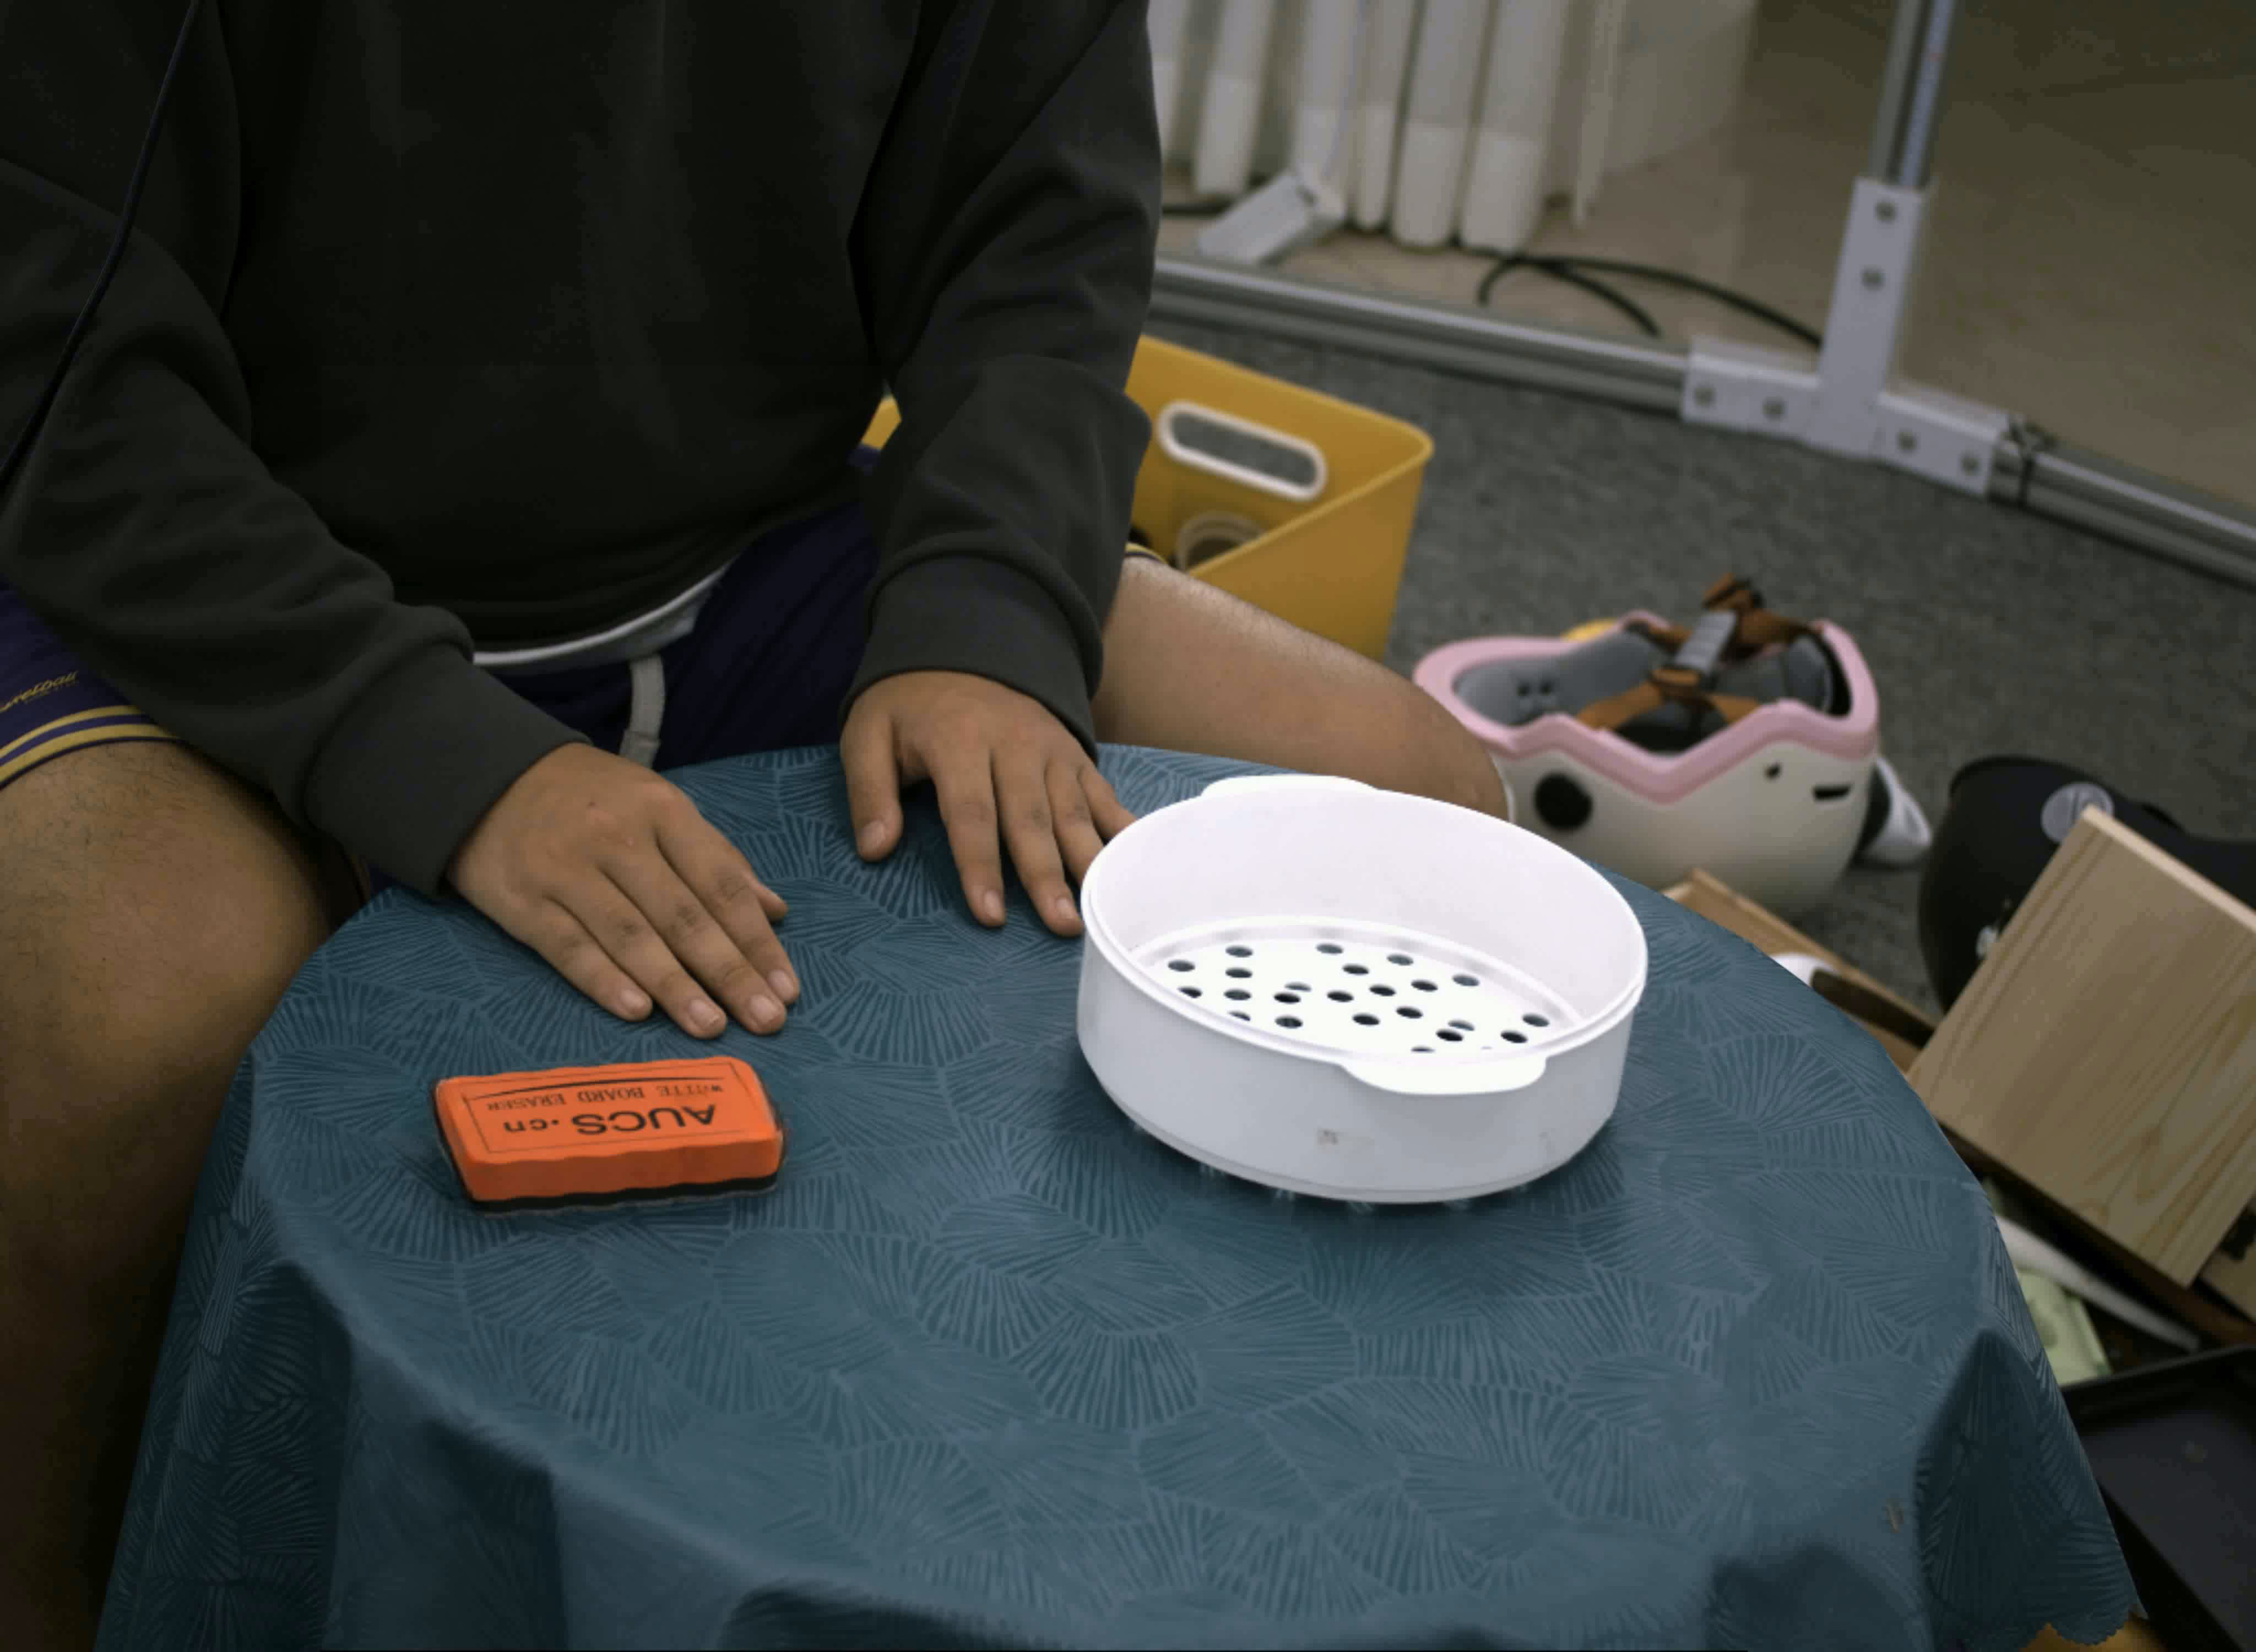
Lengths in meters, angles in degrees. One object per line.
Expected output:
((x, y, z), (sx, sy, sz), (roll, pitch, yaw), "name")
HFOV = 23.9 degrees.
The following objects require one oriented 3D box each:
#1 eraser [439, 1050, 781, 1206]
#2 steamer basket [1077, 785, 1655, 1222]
((-0.173, 0.100, 1.775), (0.107, 0.023, 0.059), (-5, 23, -20), "eraser")
((0.081, 0.064, 1.867), (0.201, 0.069, 0.232), (-2, 29, -15), "steamer basket")
